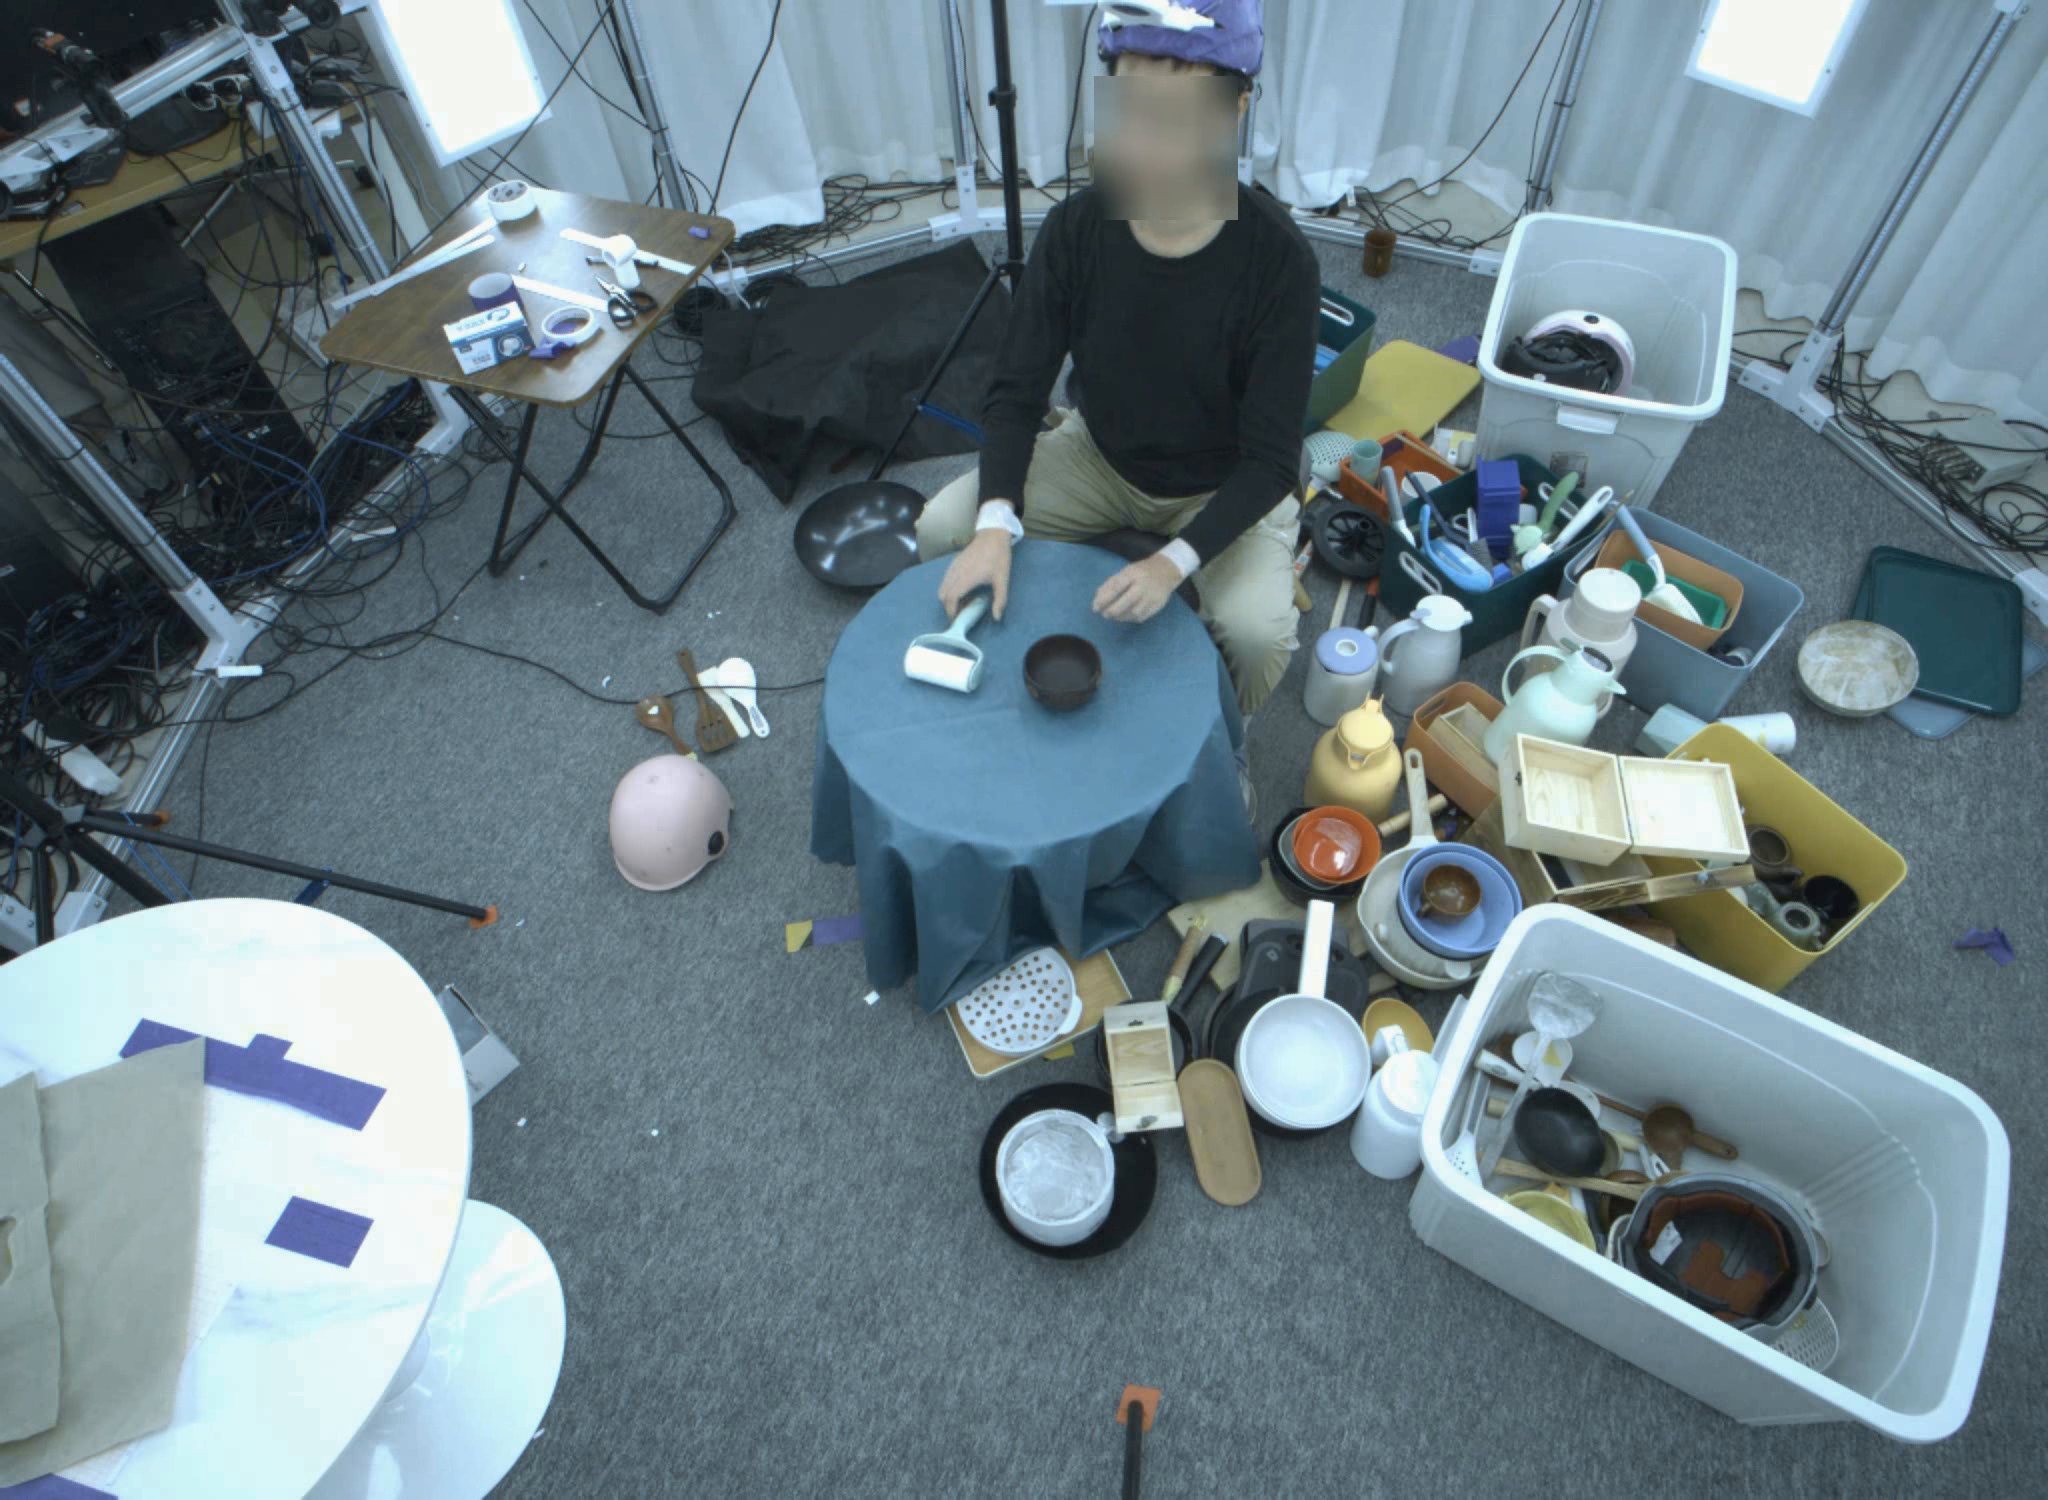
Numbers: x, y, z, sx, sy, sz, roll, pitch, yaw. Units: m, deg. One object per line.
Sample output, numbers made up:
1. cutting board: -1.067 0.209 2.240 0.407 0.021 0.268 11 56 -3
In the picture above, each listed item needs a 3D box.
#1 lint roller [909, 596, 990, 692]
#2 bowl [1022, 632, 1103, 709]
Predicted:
1. lint roller: -0.091 -0.175 1.887 0.115 0.049 0.197 15 55 14
2. bowl: 0.058 -0.109 1.819 0.118 0.070 0.117 -1 54 2
